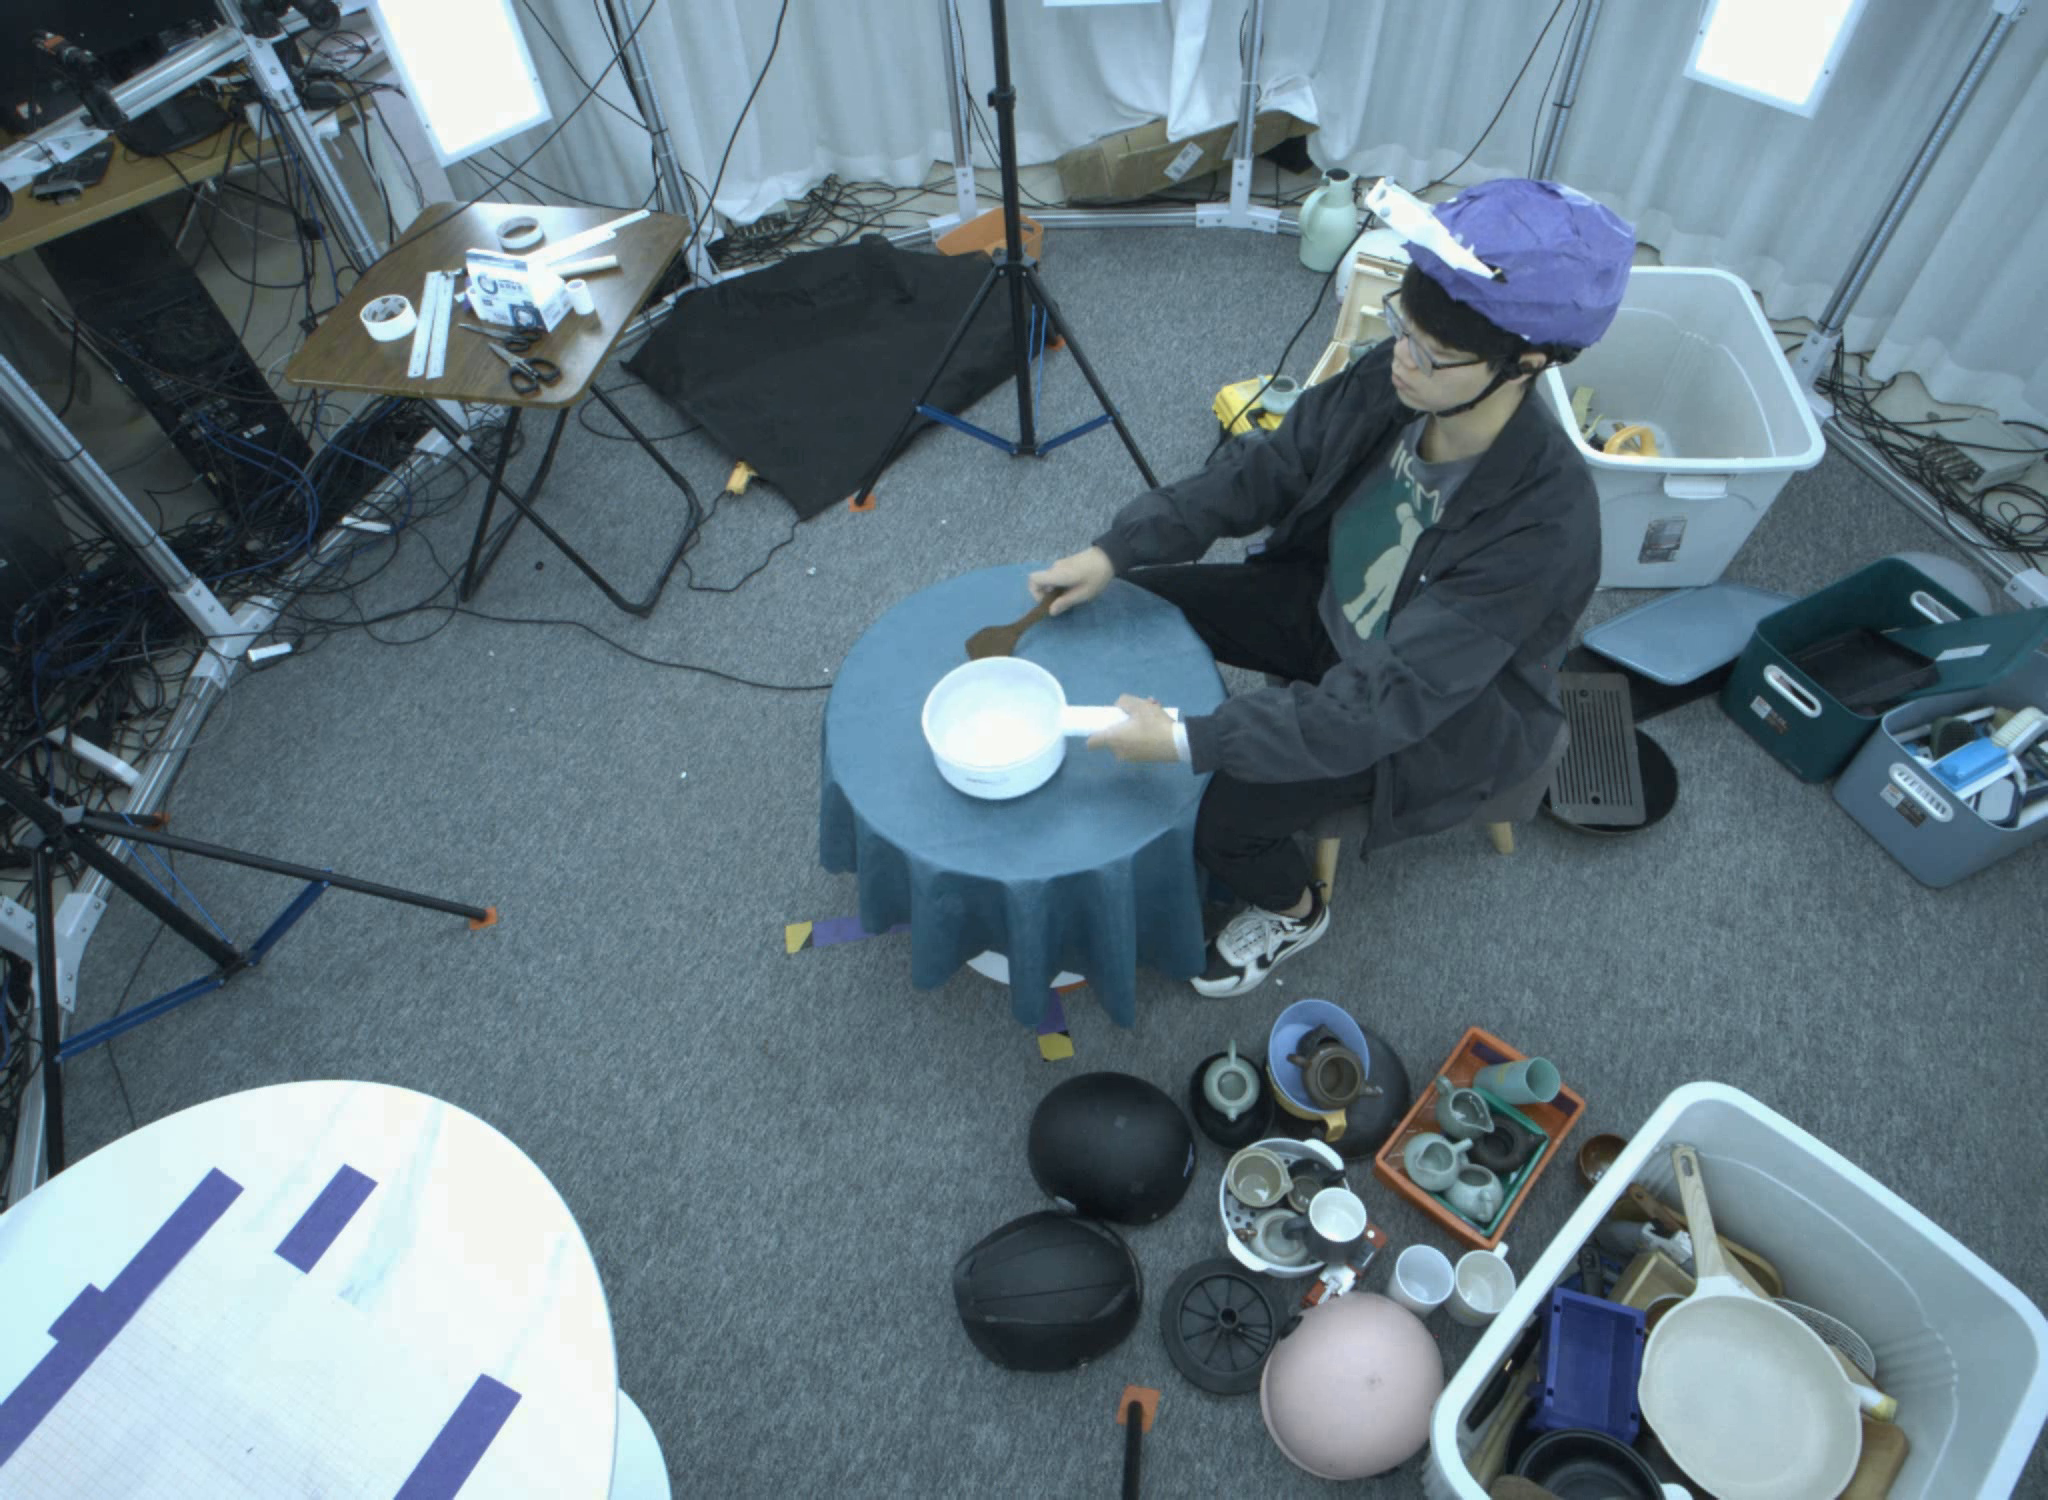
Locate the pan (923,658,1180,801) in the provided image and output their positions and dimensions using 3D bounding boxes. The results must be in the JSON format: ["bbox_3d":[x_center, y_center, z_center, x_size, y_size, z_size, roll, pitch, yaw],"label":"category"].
[{"bbox_3d":[0.040,-0.019,1.726,0.353,0.103,0.199,4,54,6],"label":"pan"}]

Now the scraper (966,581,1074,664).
[{"bbox_3d":[-0.002,-0.192,1.876,0.213,0.077,0.010,-40,28,-22],"label":"scraper"}]
